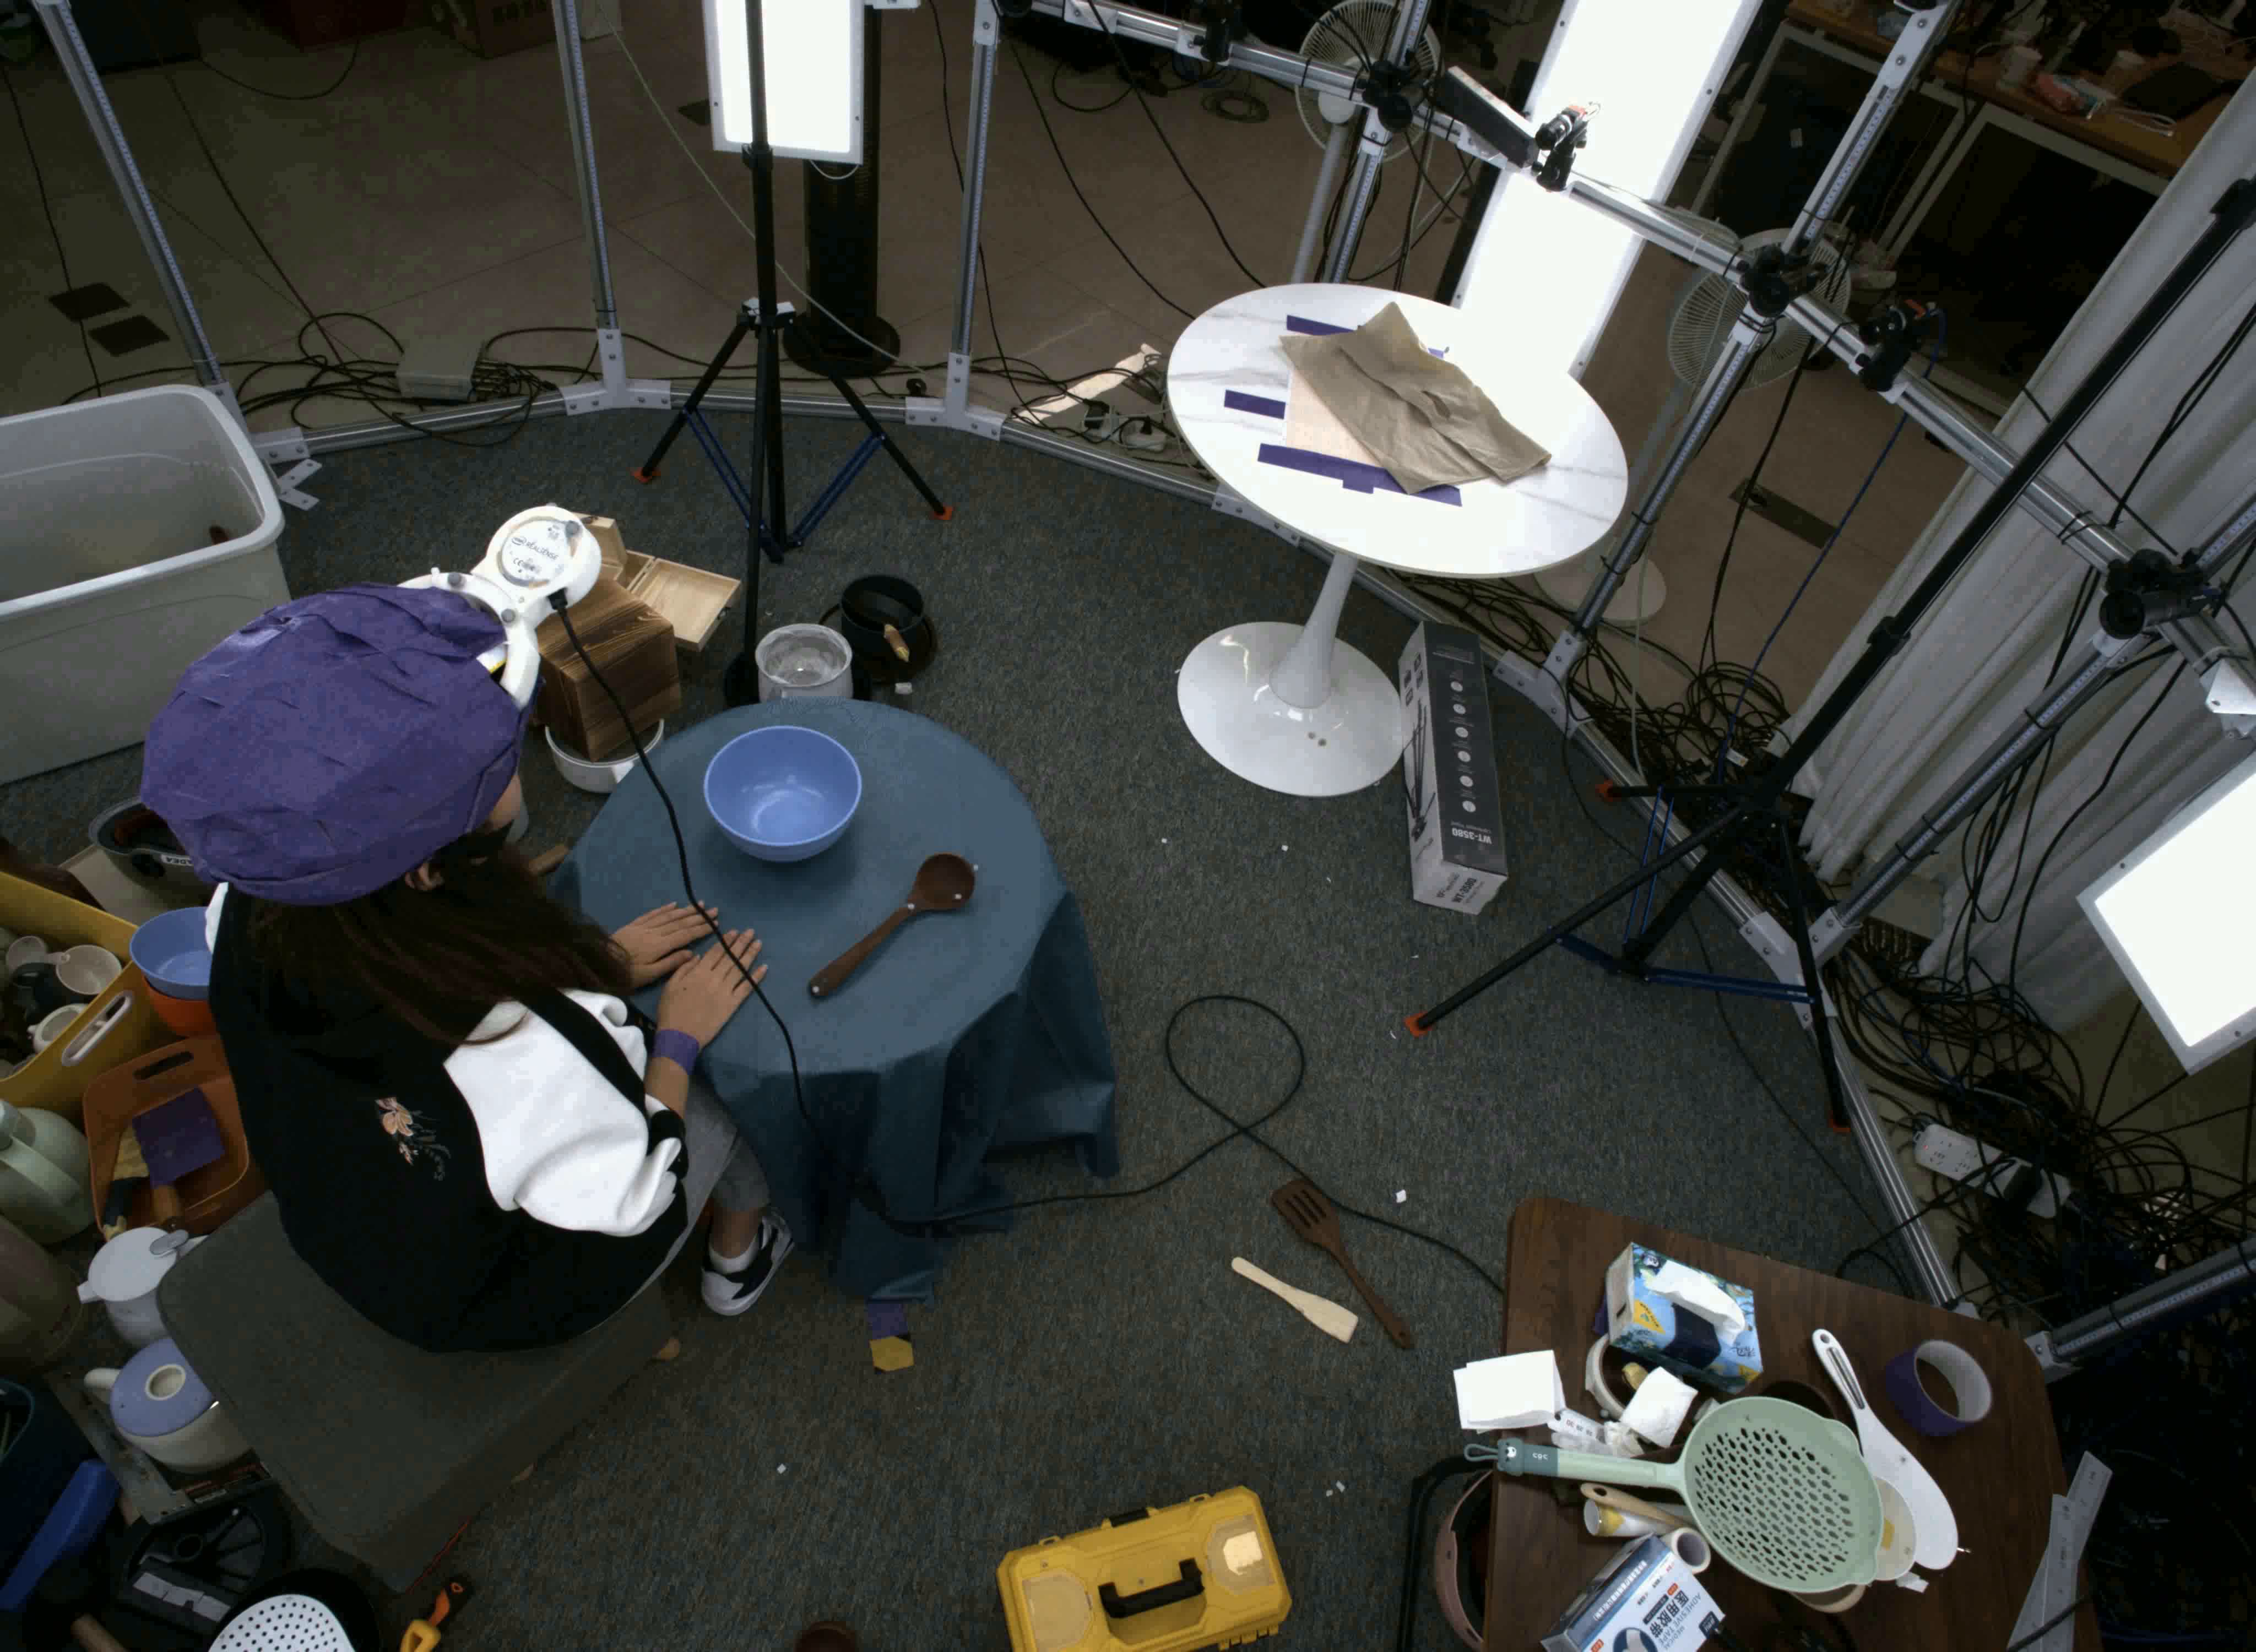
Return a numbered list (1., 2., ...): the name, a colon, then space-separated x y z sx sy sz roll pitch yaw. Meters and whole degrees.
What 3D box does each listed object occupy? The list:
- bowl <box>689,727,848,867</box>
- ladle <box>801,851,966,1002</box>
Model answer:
1. bowl: -0.464 -0.023 1.665 0.197 0.097 0.193 12 51 -13
2. ladle: -0.303 0.124 1.620 0.077 0.064 0.260 52 54 -8
